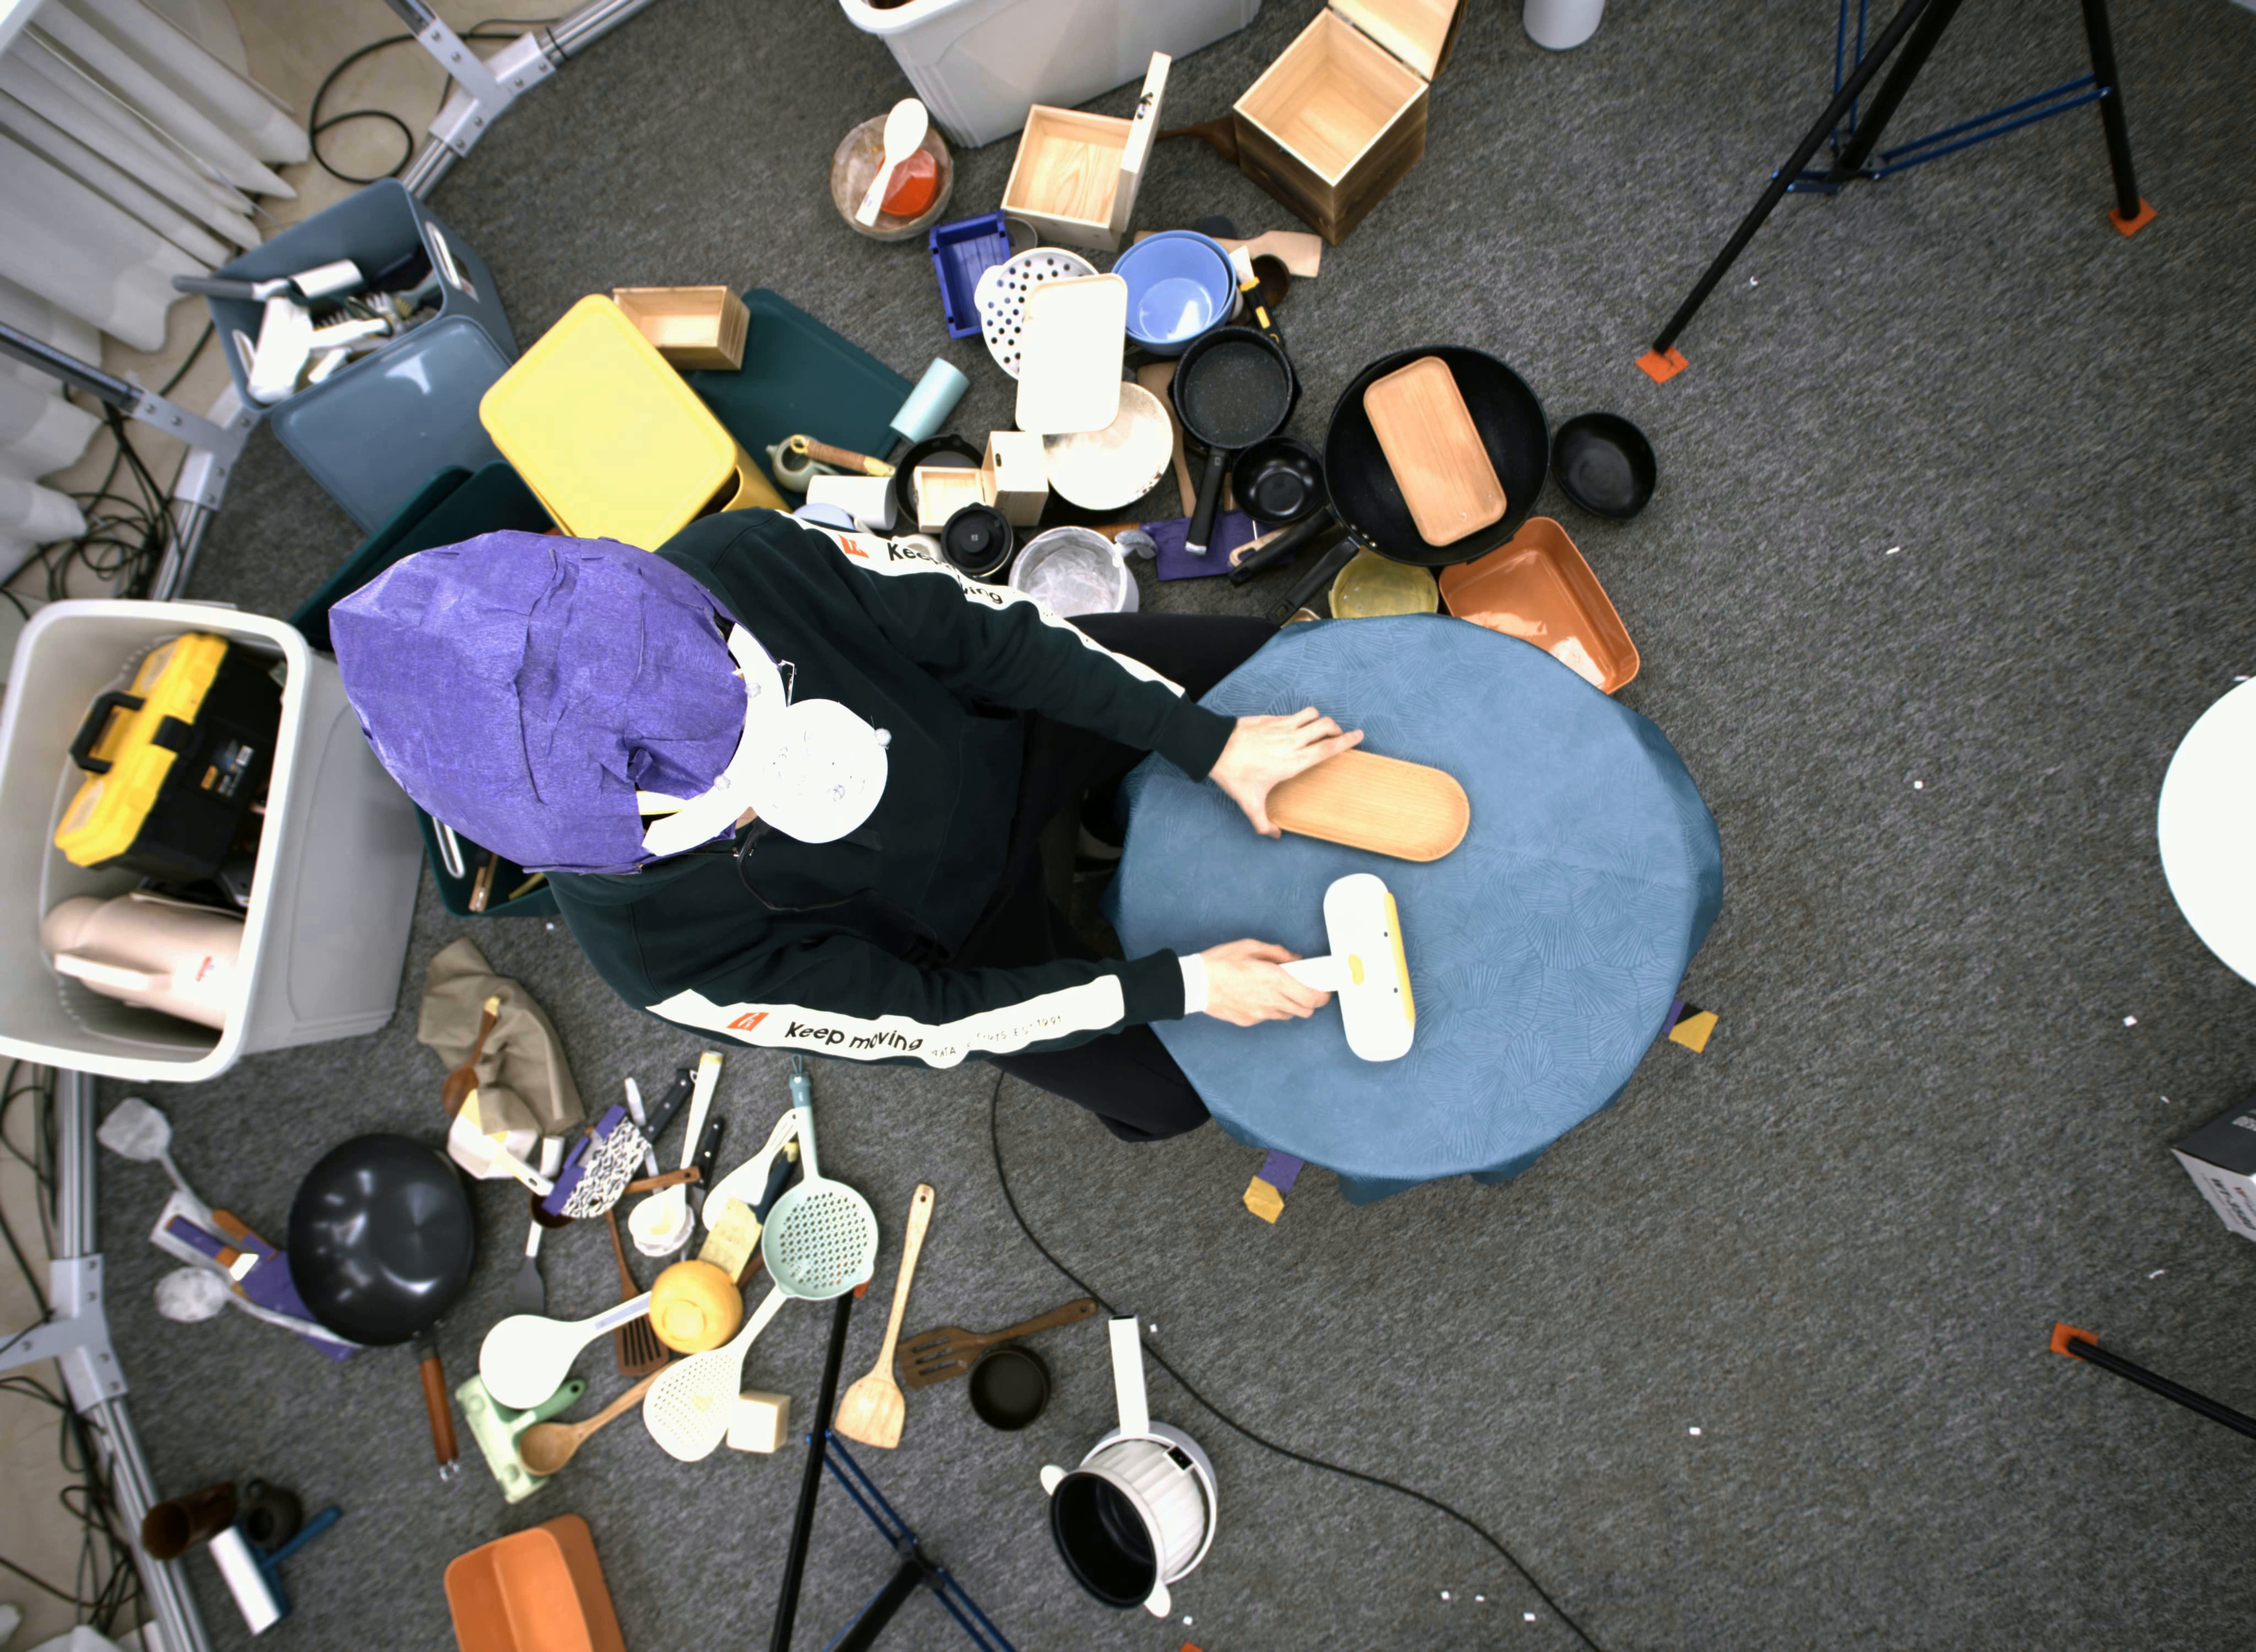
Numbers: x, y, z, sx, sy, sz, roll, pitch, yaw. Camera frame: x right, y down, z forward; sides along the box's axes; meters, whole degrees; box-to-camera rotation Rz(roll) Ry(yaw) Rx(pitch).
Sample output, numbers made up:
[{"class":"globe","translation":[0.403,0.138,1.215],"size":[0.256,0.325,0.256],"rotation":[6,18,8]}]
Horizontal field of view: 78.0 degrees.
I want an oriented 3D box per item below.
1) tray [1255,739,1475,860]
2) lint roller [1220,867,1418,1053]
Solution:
[{"class":"tray","translation":[0.248,-0.029,1.452],"size":[0.231,0.020,0.101],"rotation":[12,90,7]},{"class":"lint roller","translation":[0.190,0.151,1.435],"size":[0.194,0.073,0.193],"rotation":[-14,91,21]}]
